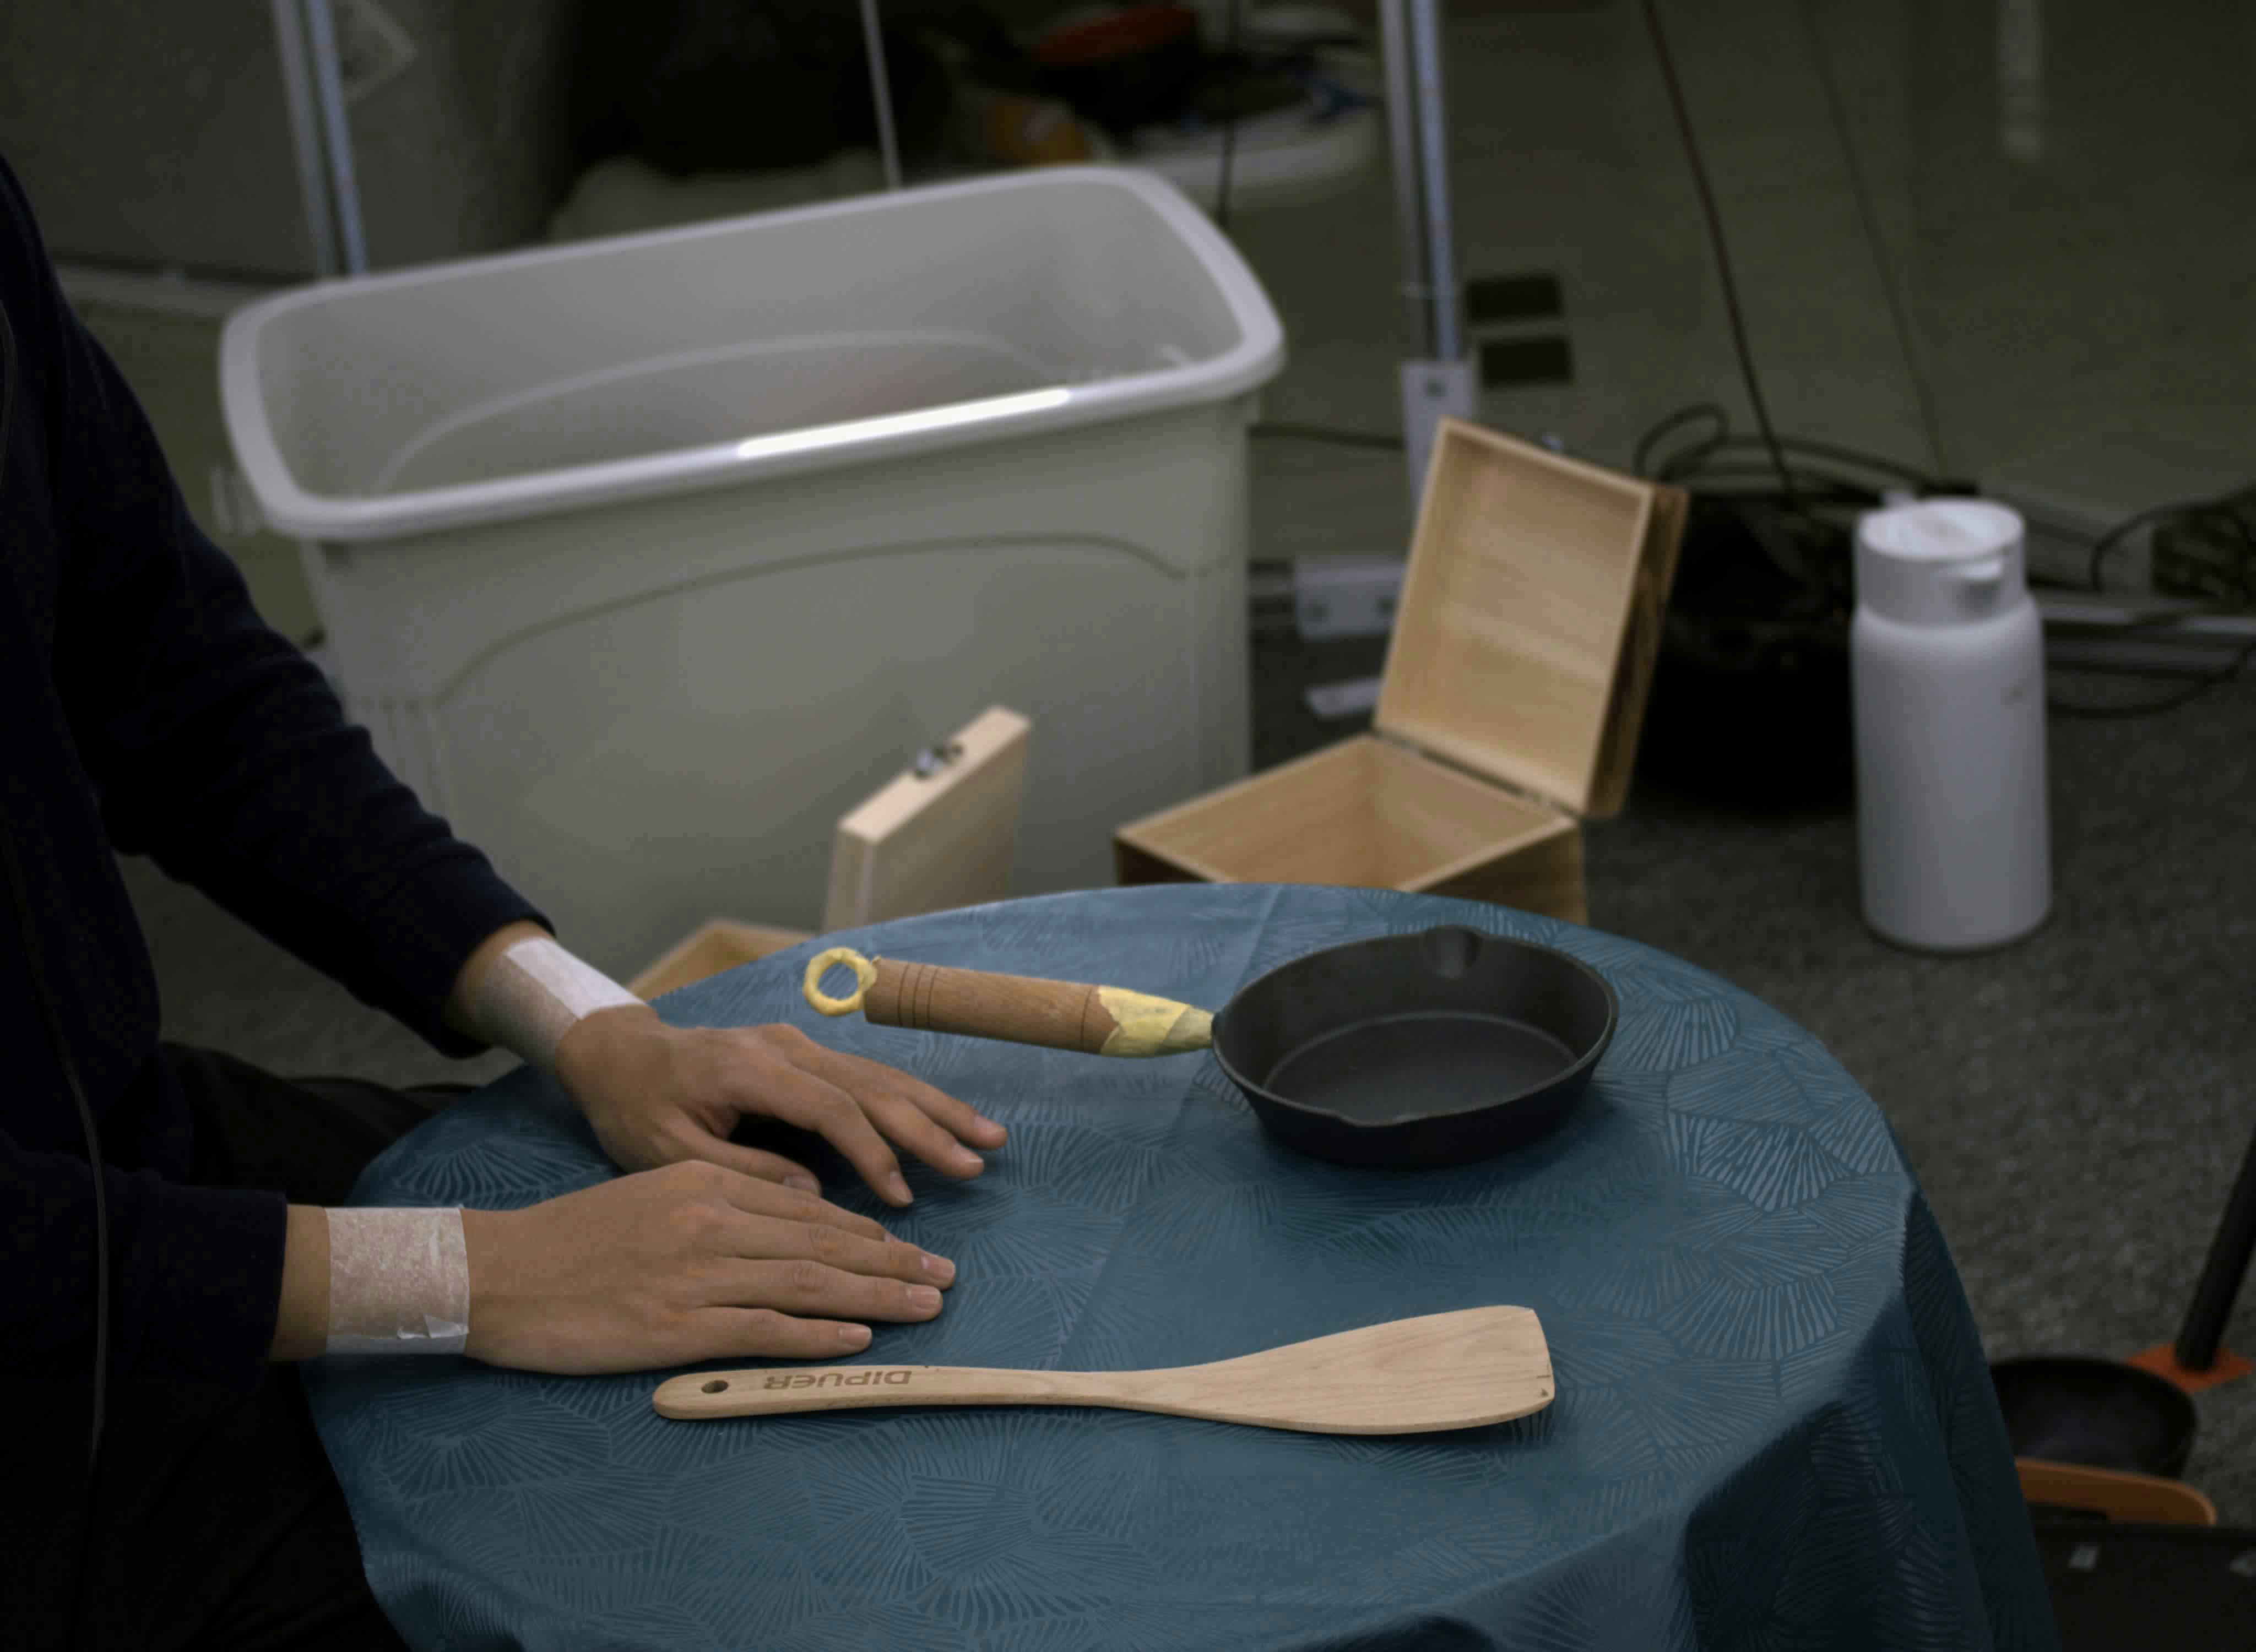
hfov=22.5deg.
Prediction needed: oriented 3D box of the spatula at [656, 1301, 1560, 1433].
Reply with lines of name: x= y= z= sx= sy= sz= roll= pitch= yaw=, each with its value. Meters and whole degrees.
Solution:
spatula: x=-0.008 y=0.195 z=2.010 sx=0.327 sy=0.017 sz=0.079 roll=-2 pitch=25 yaw=9

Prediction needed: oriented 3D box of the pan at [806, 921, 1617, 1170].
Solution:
pan: x=0.030 y=0.079 z=2.207 sx=0.323 sy=0.050 sz=0.166 roll=3 pitch=27 yaw=16
